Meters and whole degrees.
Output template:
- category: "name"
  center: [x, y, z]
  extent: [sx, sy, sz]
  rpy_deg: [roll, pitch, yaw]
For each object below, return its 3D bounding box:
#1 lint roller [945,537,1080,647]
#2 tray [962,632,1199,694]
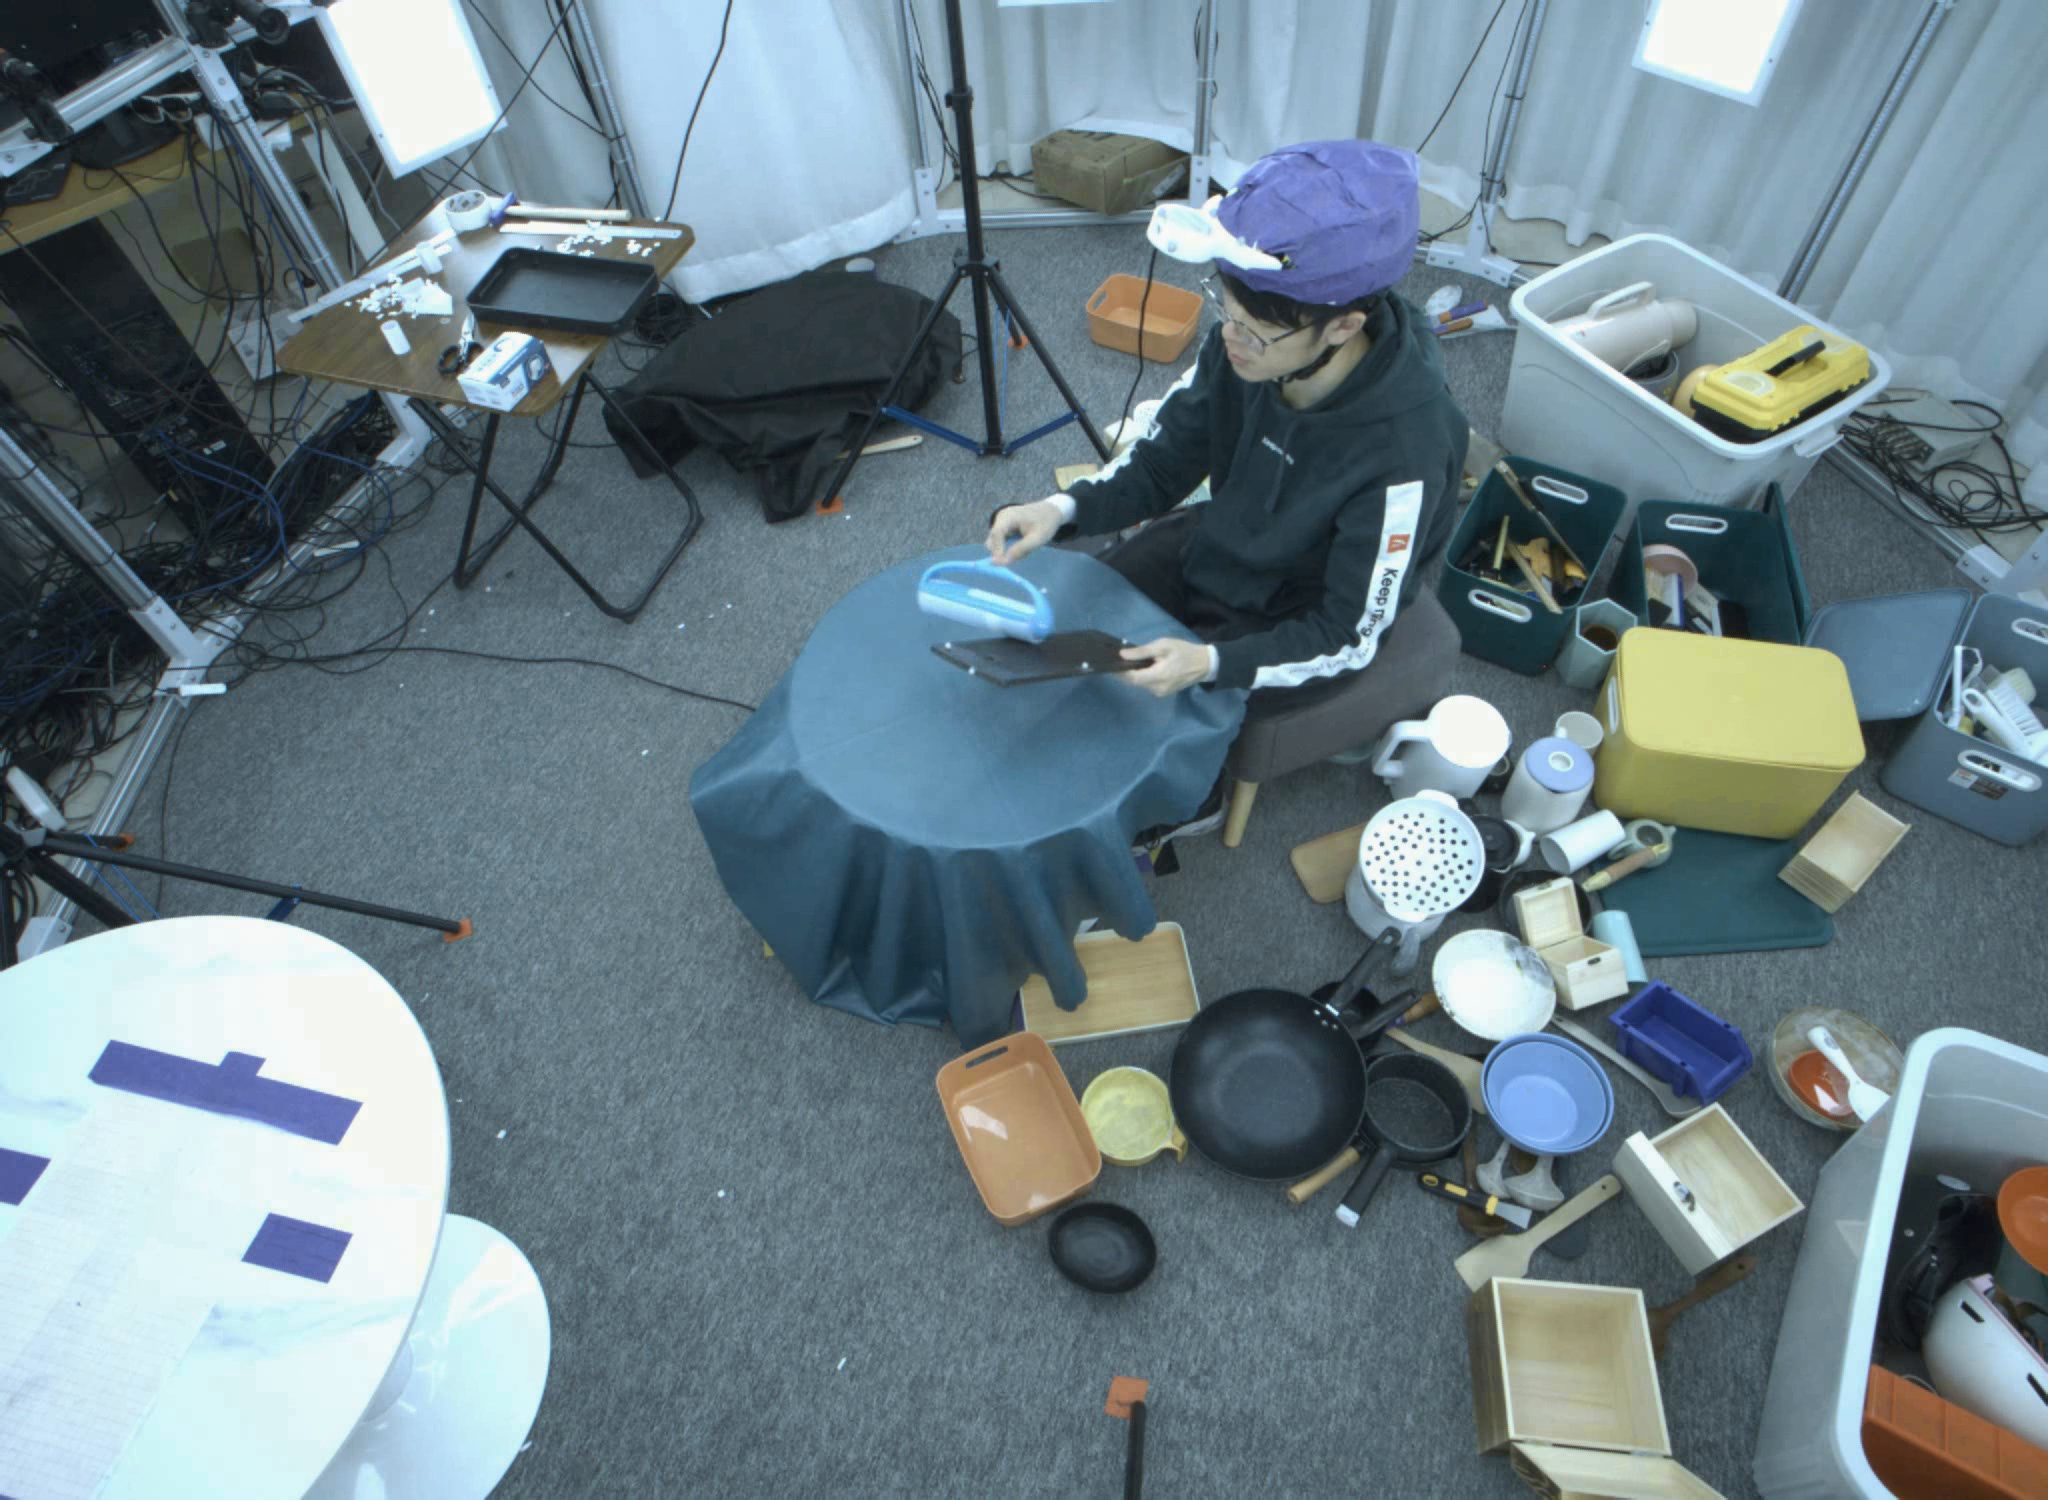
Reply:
- category: "lint roller"
  center: [0.005, -0.249, 1.763]
  extent: [0.224, 0.069, 0.180]
  rpy_deg: [18, 72, 30]
- category: "tray"
  center: [0.080, -0.122, 1.690]
  extent: [0.312, 0.019, 0.166]
  rpy_deg: [-8, 27, -38]
